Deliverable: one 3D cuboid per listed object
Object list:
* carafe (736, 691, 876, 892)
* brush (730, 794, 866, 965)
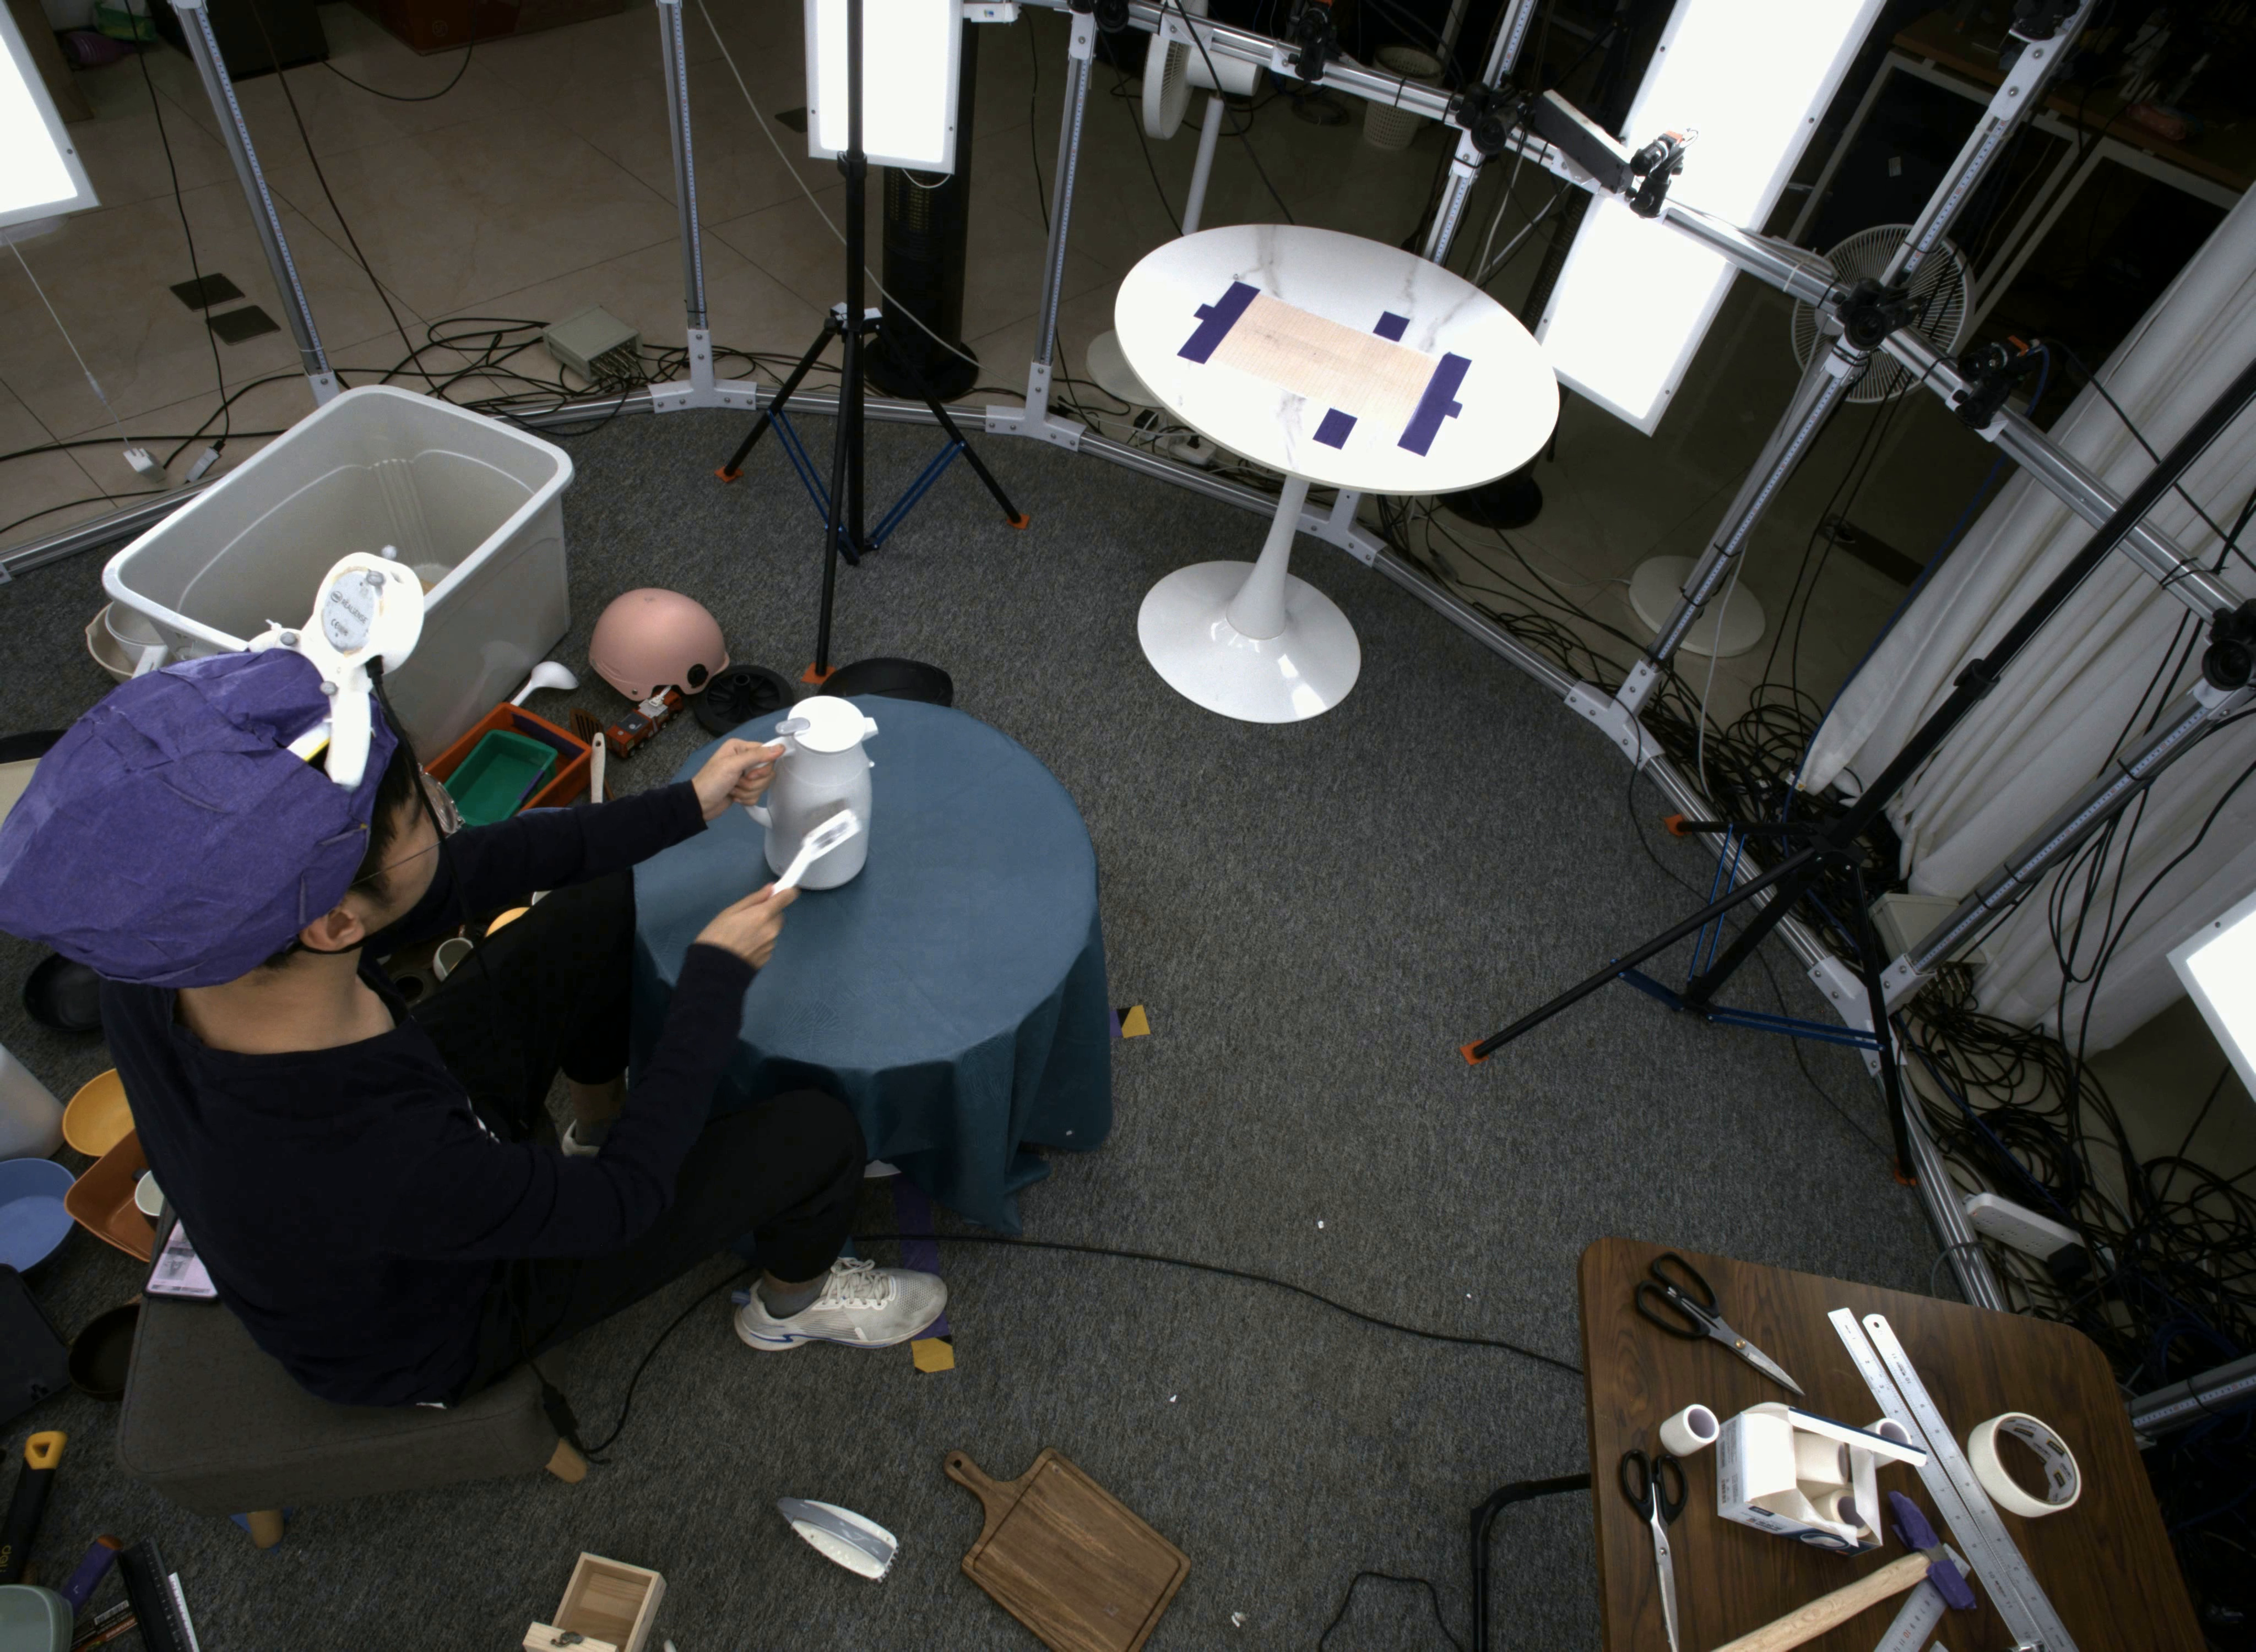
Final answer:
[{"bbox_3d":[-0.397,-0.044,1.596,0.169,0.253,0.129,-16,57,-28],"label":"carafe"},{"bbox_3d":[-0.393,0.057,1.508,0.048,0.035,0.243,22,60,27],"label":"brush"}]
